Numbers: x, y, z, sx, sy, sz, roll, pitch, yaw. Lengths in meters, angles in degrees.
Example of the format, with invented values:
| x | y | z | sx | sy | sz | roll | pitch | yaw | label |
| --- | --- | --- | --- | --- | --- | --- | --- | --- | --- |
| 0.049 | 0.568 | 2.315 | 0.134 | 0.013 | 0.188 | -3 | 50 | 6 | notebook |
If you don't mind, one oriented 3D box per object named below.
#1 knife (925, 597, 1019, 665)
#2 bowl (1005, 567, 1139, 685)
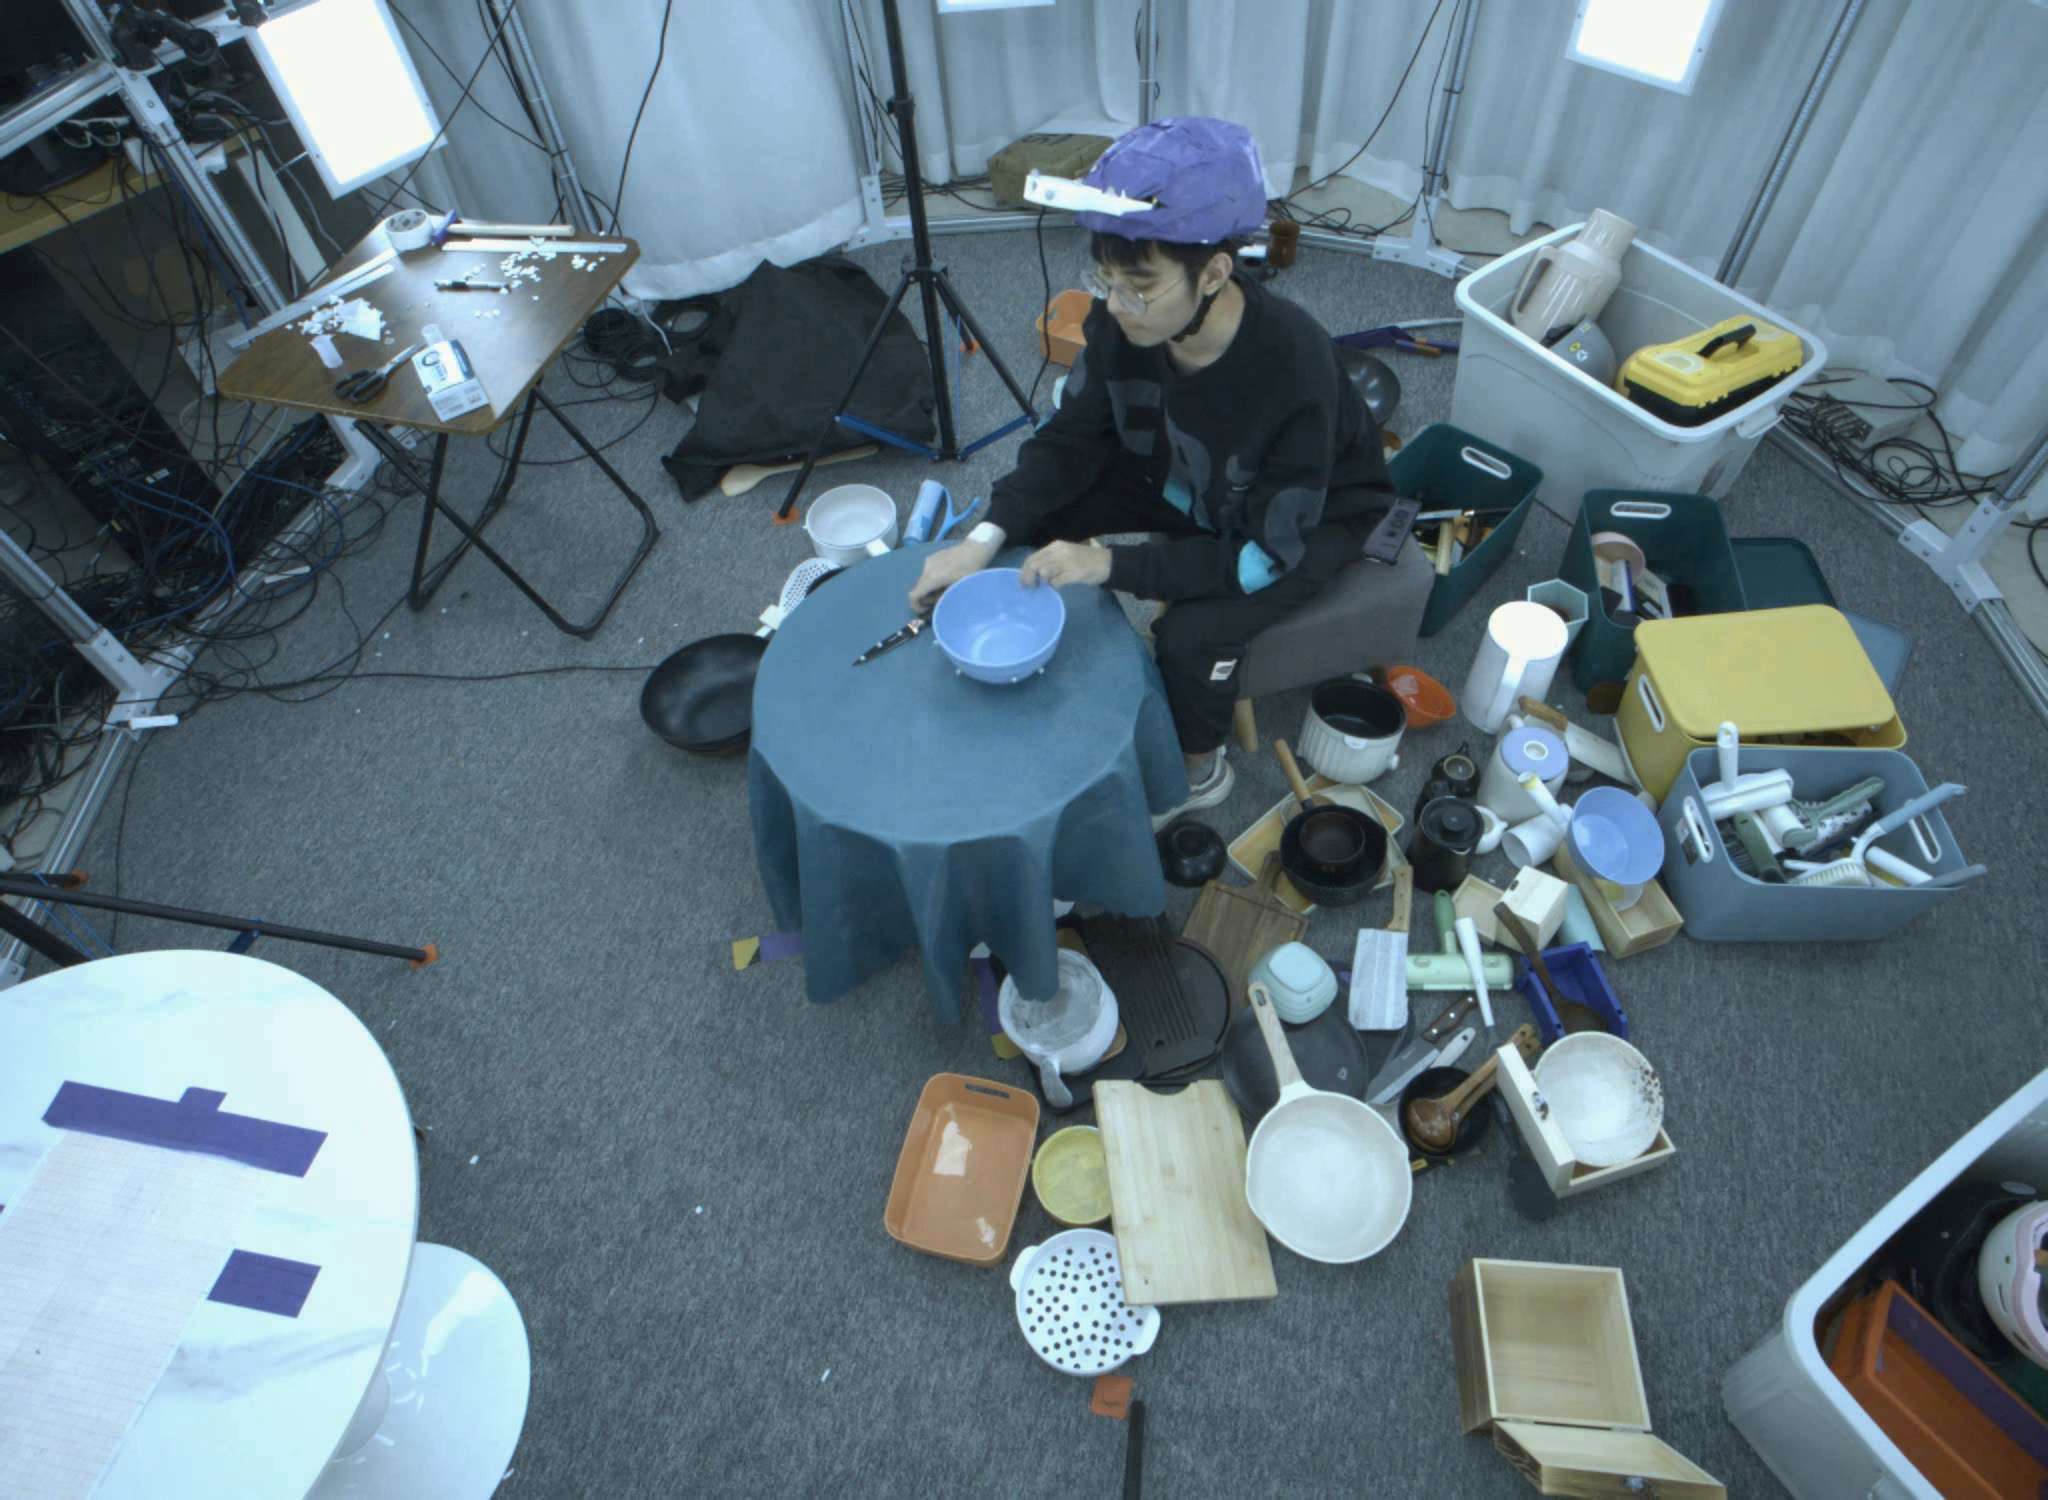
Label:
| x | y | z | sx | sy | sz | roll | pitch | yaw | label |
| --- | --- | --- | --- | --- | --- | --- | --- | --- | --- |
| -0.064 | -0.194 | 1.920 | 0.227 | 0.017 | 0.026 | -32 | 65 | -17 | knife |
| 0.074 | -0.171 | 1.843 | 0.196 | 0.096 | 0.194 | -2 | 57 | 4 | bowl |
